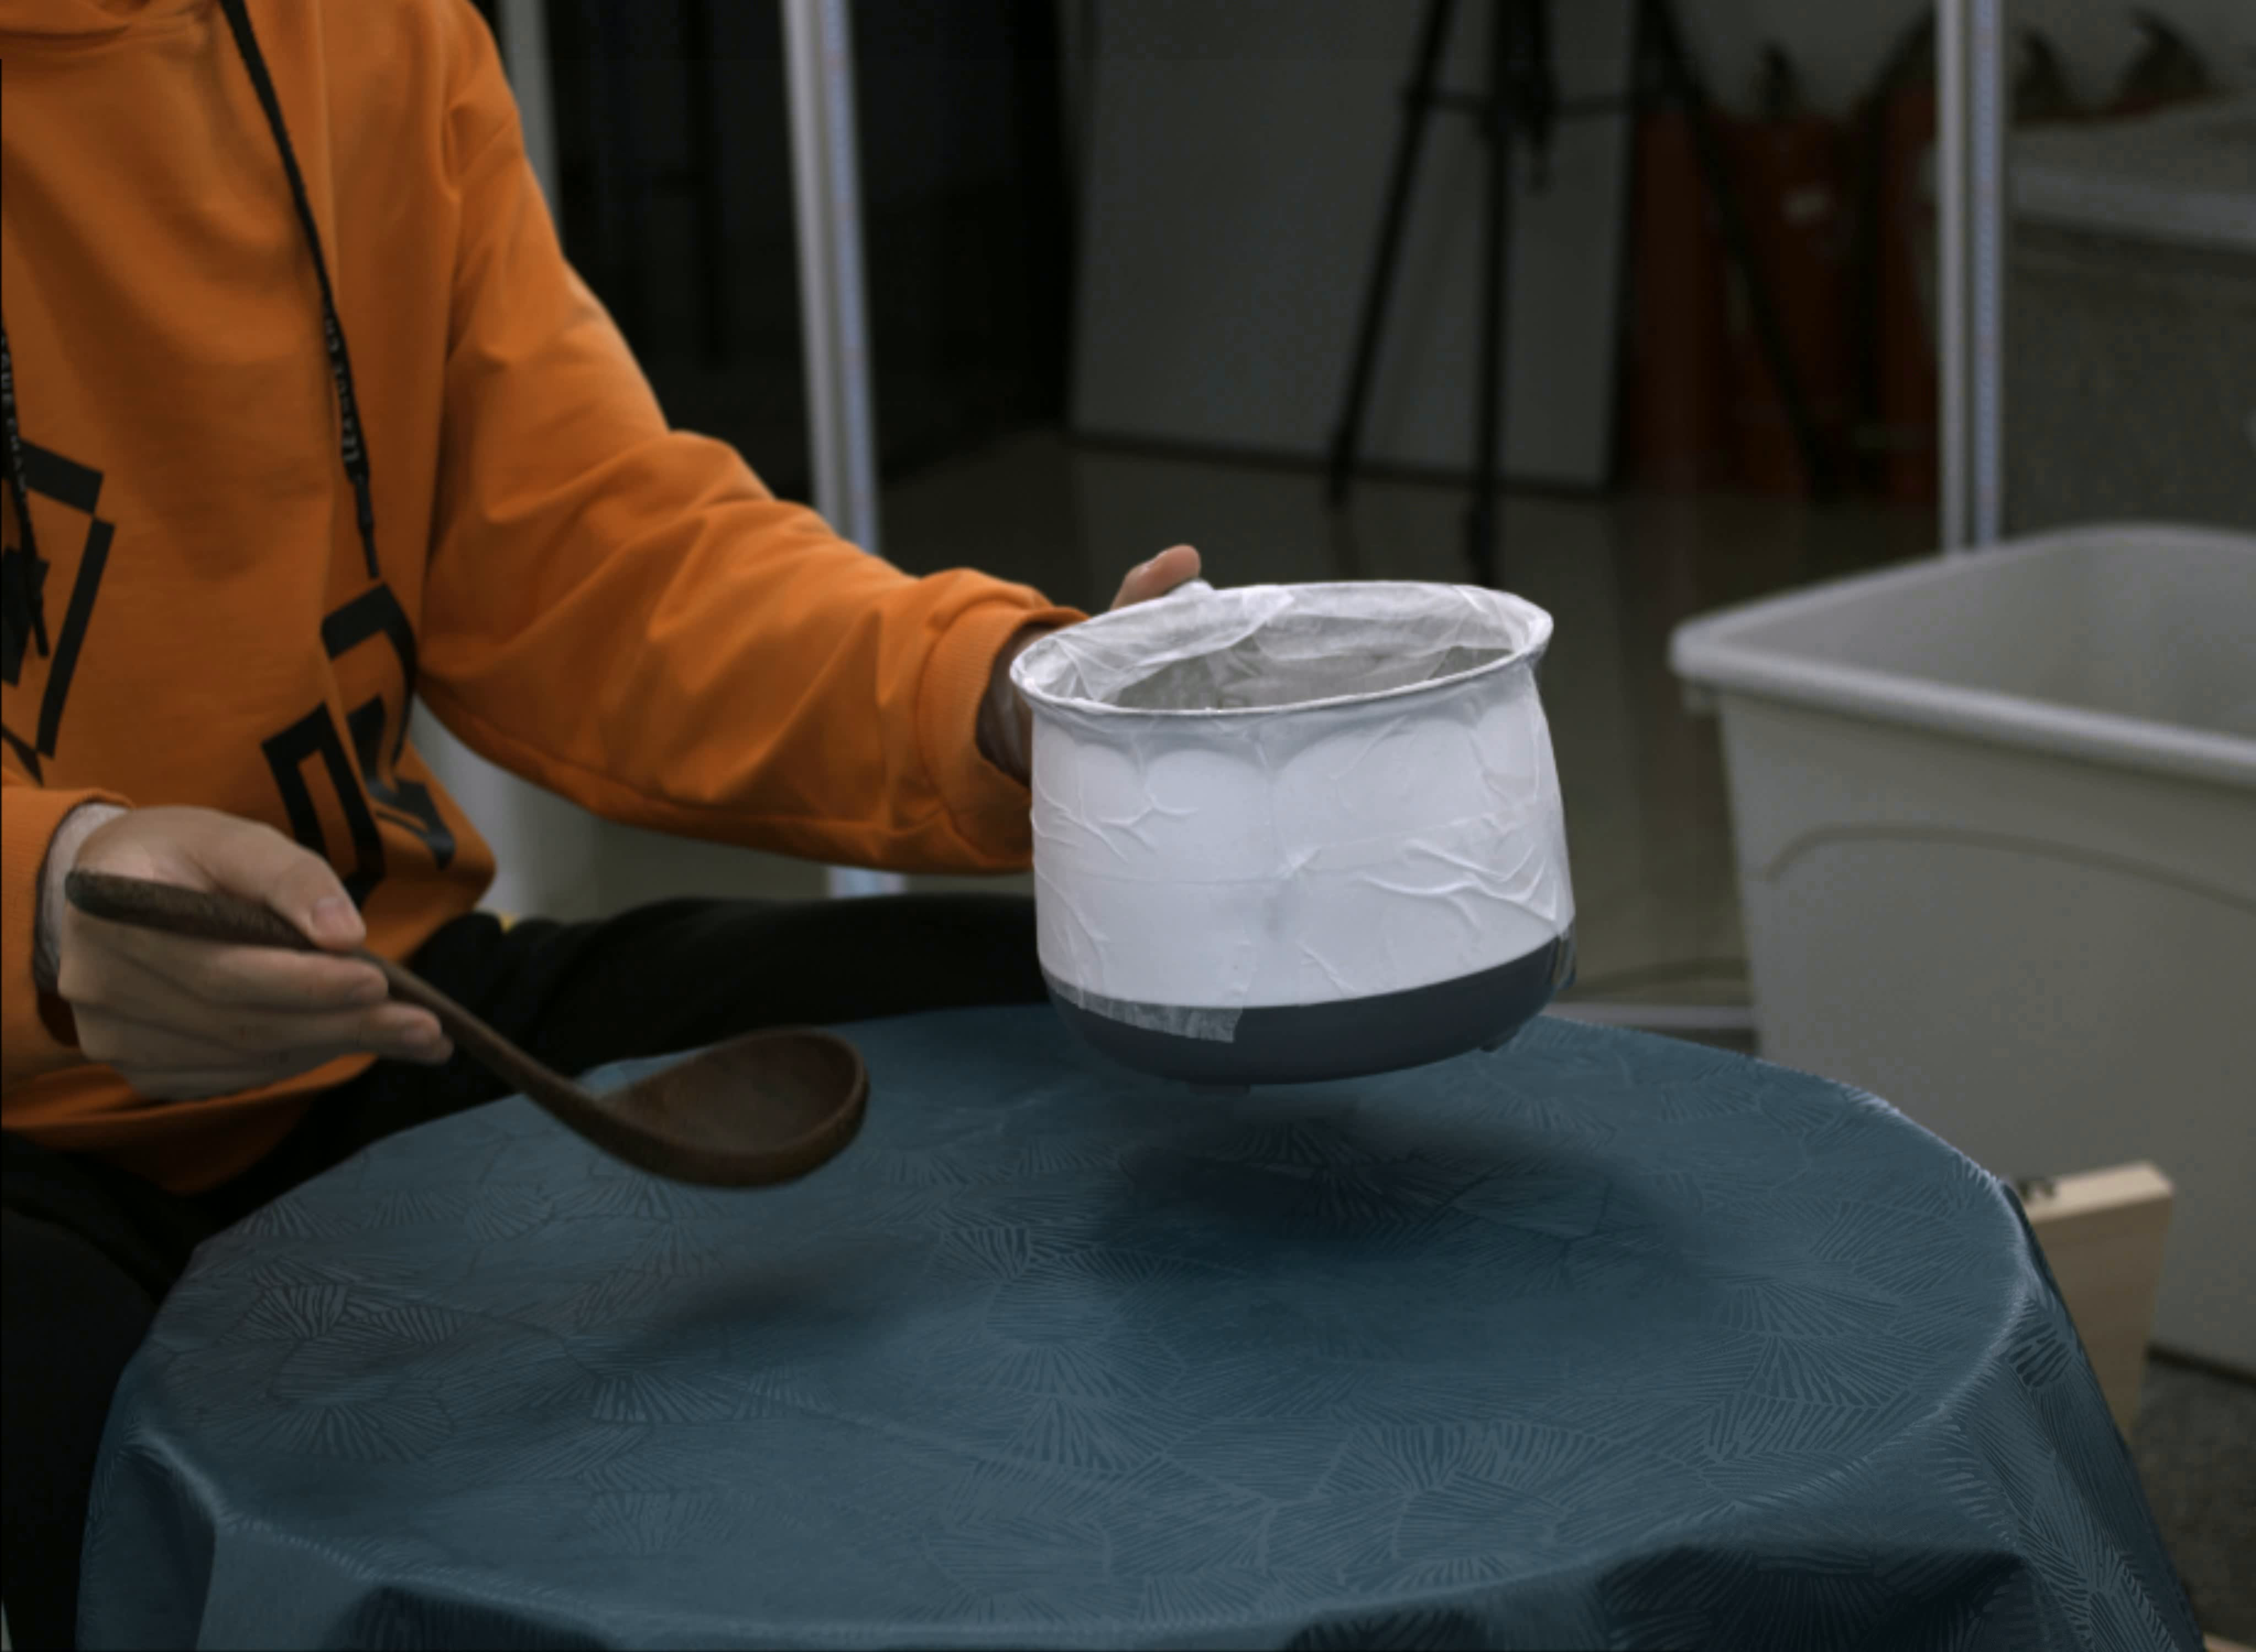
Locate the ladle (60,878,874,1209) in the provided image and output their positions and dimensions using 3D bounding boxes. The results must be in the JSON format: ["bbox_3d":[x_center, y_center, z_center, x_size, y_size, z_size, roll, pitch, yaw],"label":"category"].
[{"bbox_3d":[-0.191,0.048,1.628,0.269,0.072,0.077,31,-1,-35],"label":"ladle"}]

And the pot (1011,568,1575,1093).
[{"bbox_3d":[0.046,-0.005,1.770,0.175,0.138,0.235,-9,14,-16],"label":"pot"}]
